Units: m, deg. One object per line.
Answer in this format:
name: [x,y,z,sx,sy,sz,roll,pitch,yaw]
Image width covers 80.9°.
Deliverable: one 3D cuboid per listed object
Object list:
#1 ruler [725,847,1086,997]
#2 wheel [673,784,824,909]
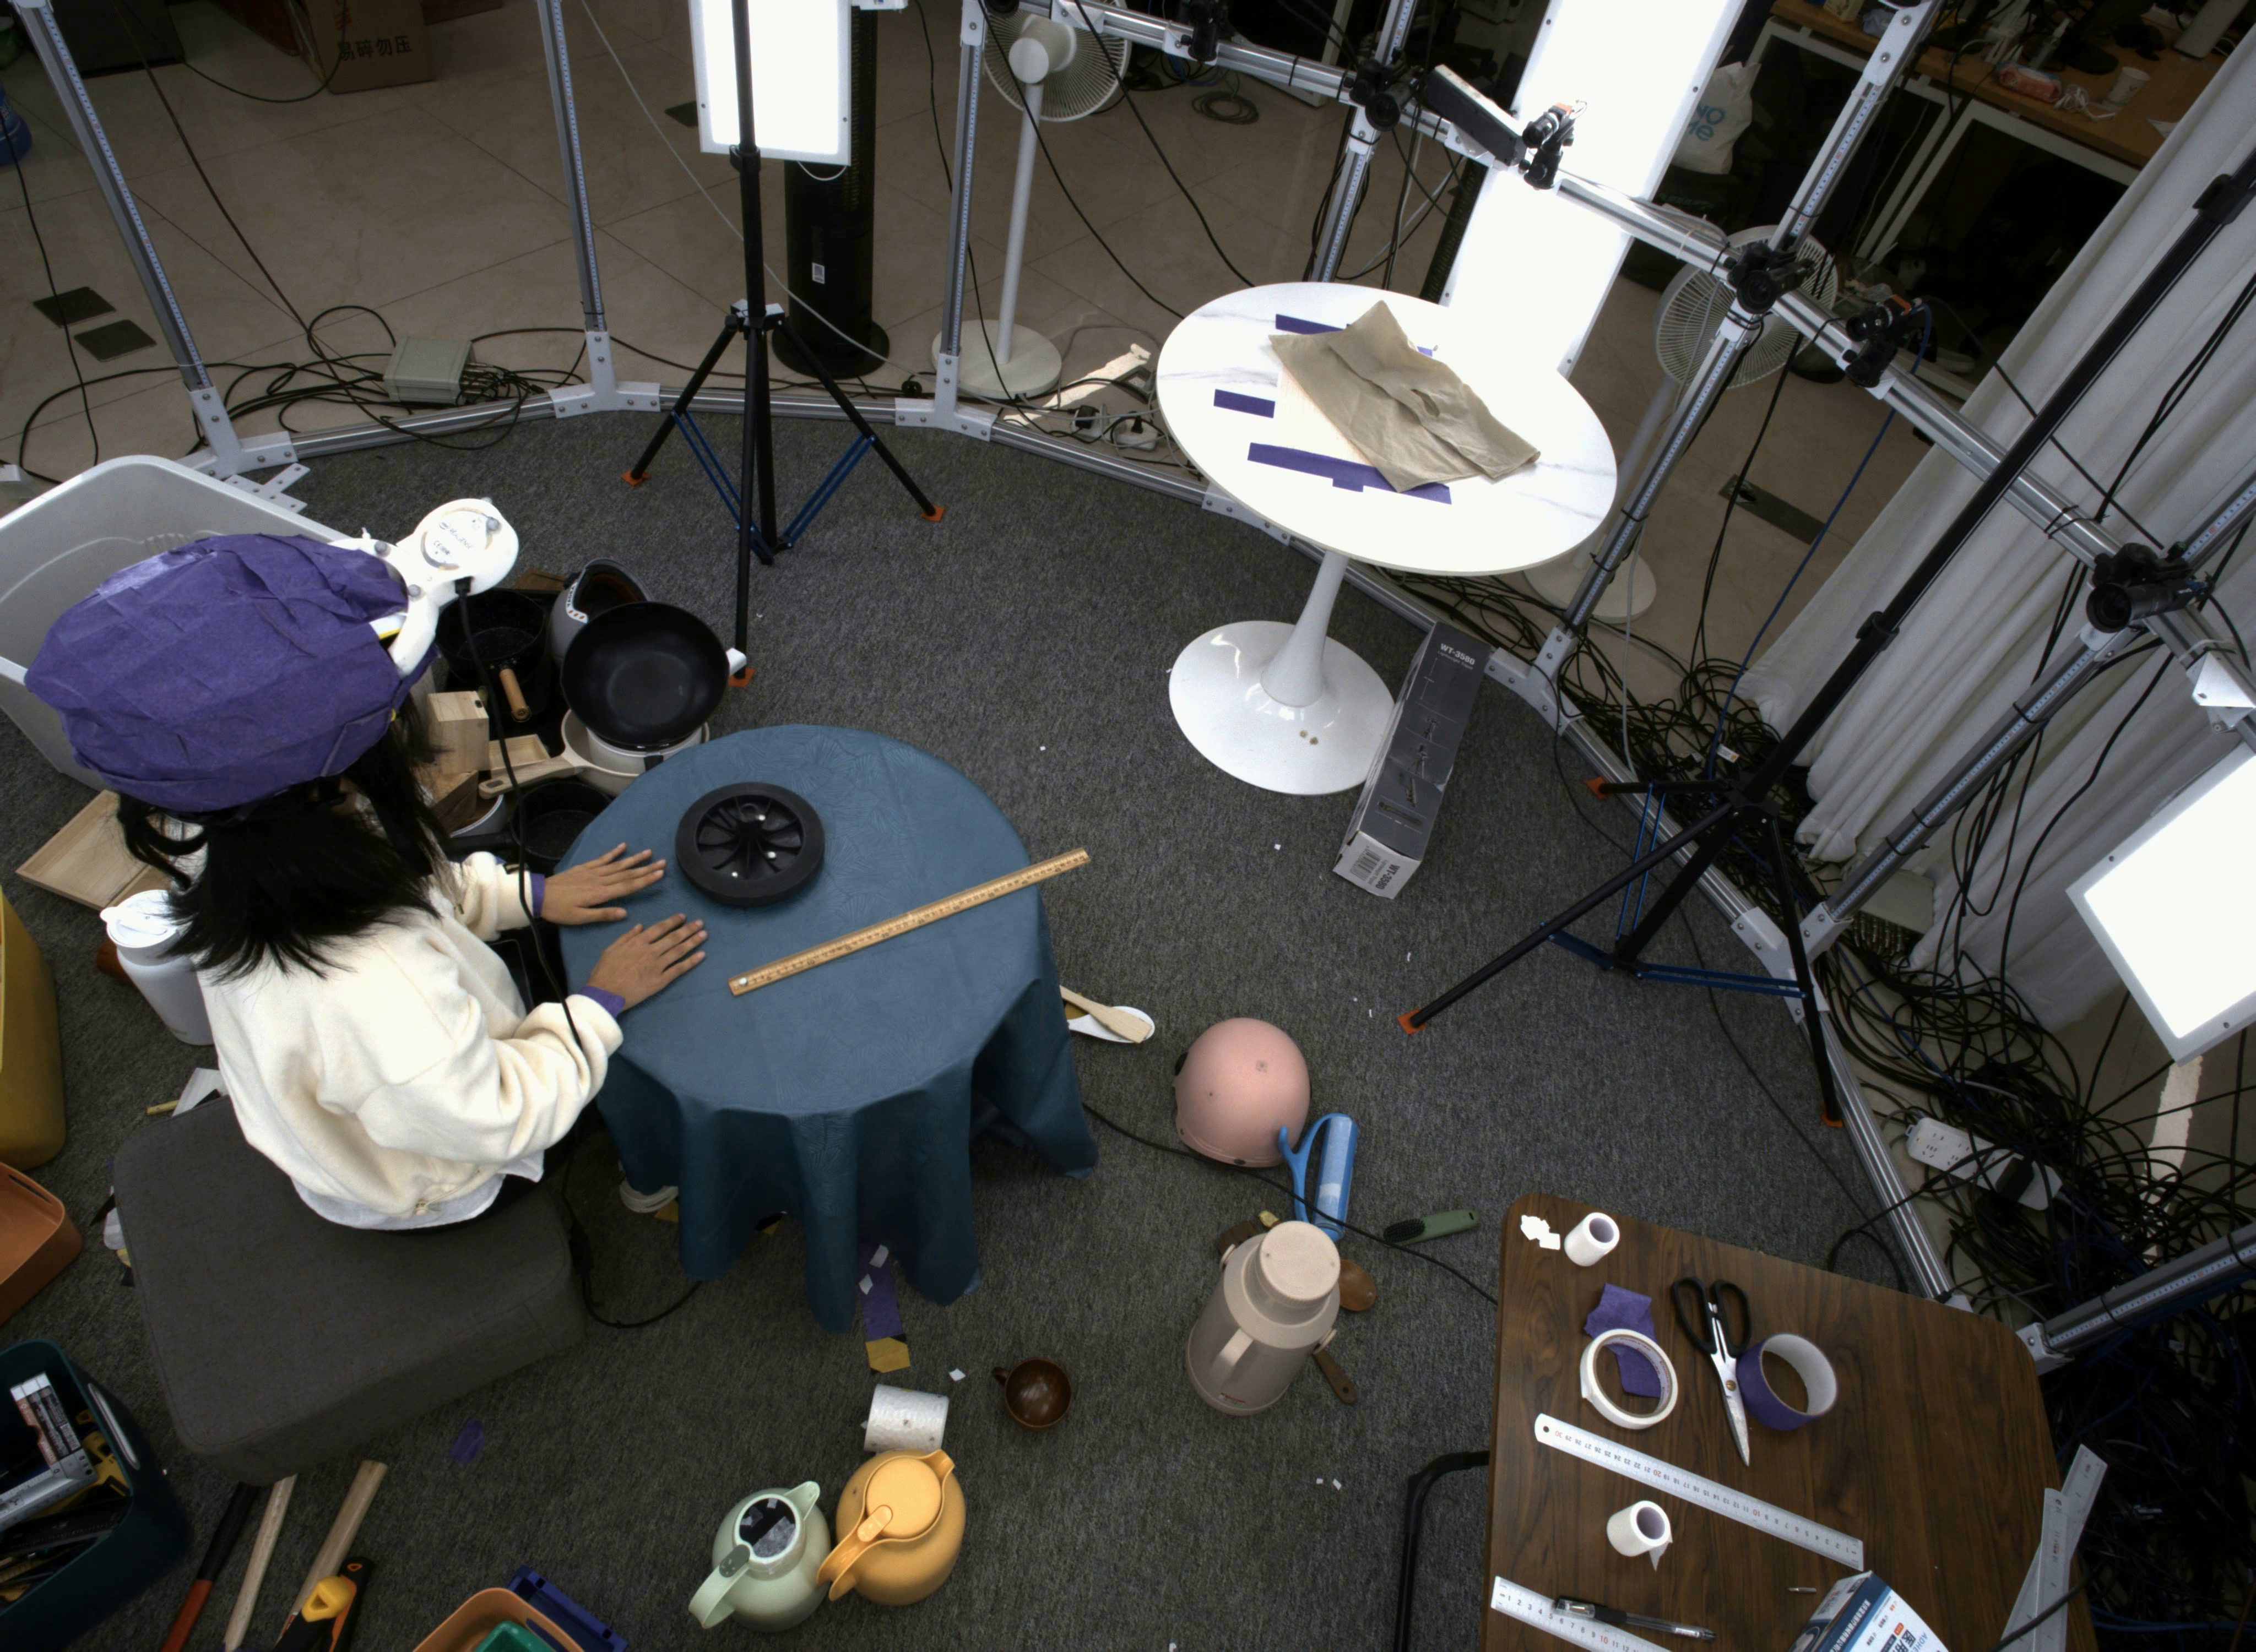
ruler: [-0.271,0.116,1.669,0.503,0.006,0.026,-21,63,-27]
wheel: [-0.484,0.009,1.647,0.188,0.080,0.186,24,52,3]
